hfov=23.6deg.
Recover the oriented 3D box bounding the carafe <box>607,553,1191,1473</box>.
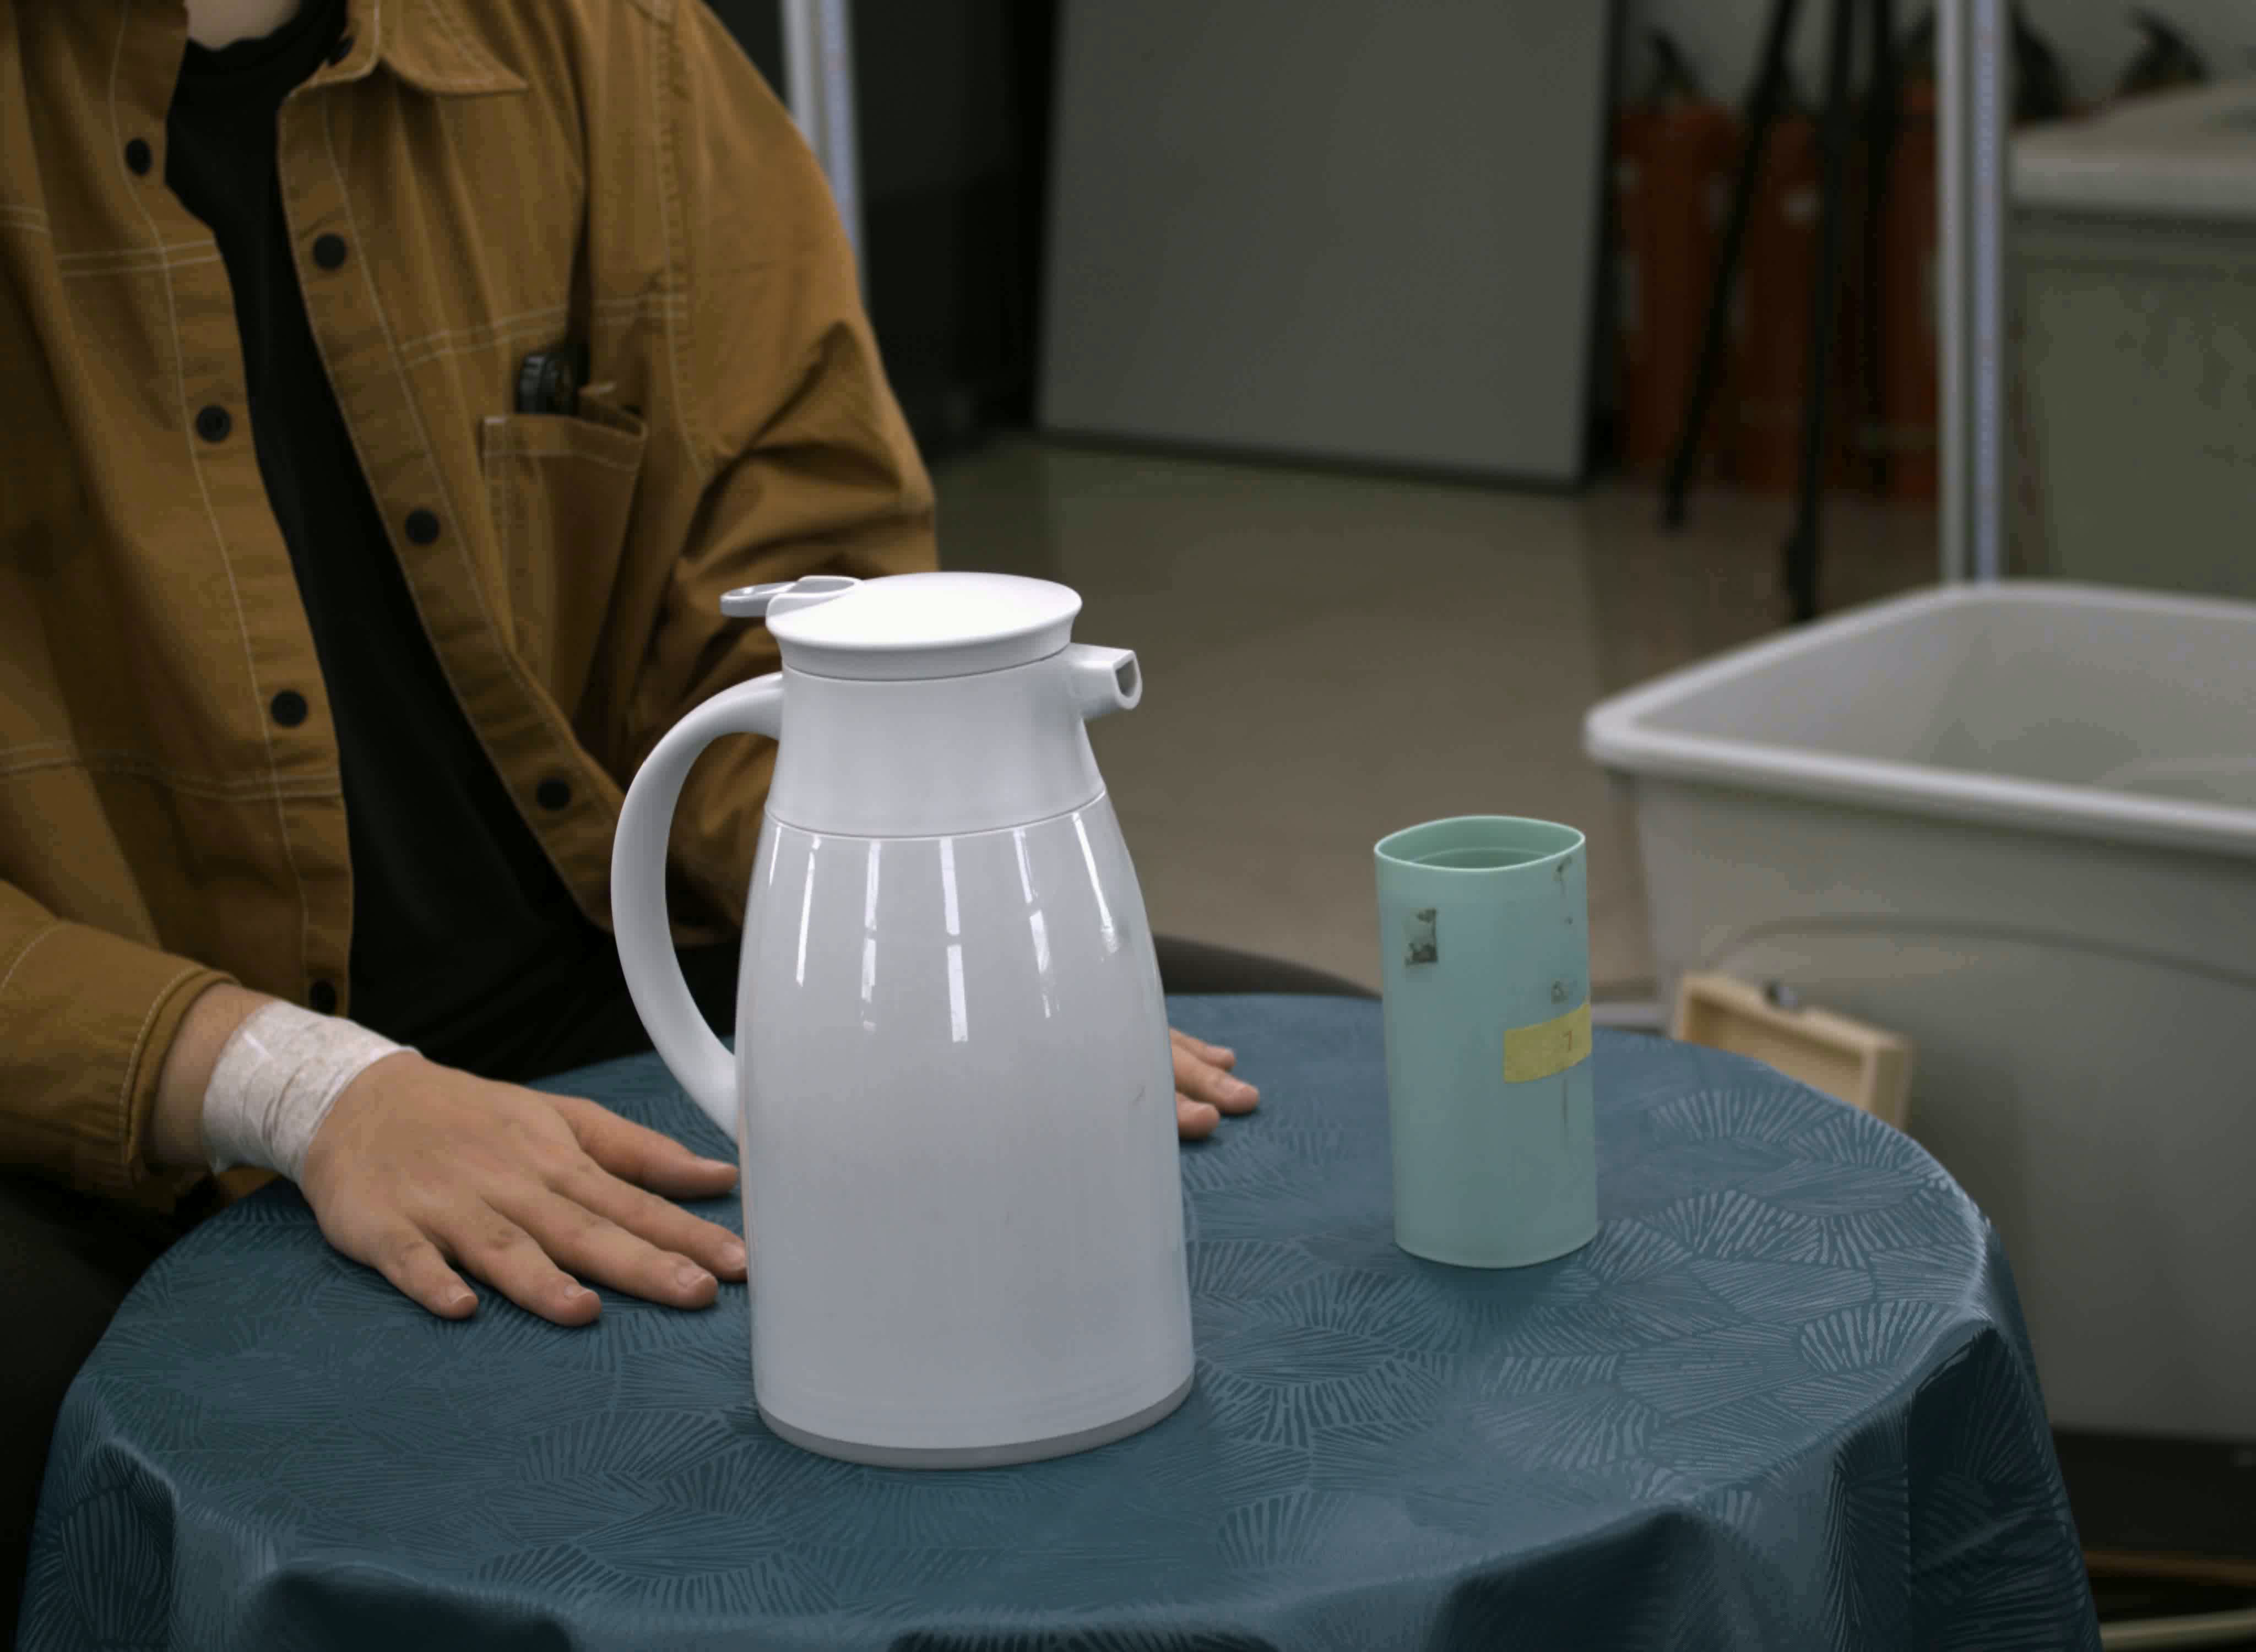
[{"bbox_3d":[-0.071,0.047,1.575,0.167,0.251,0.131,0,14,20],"label":"carafe"}]

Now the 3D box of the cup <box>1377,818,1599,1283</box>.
[{"bbox_3d":[0.113,0.069,1.689,0.066,0.134,0.067,-3,14,0],"label":"cup"}]
